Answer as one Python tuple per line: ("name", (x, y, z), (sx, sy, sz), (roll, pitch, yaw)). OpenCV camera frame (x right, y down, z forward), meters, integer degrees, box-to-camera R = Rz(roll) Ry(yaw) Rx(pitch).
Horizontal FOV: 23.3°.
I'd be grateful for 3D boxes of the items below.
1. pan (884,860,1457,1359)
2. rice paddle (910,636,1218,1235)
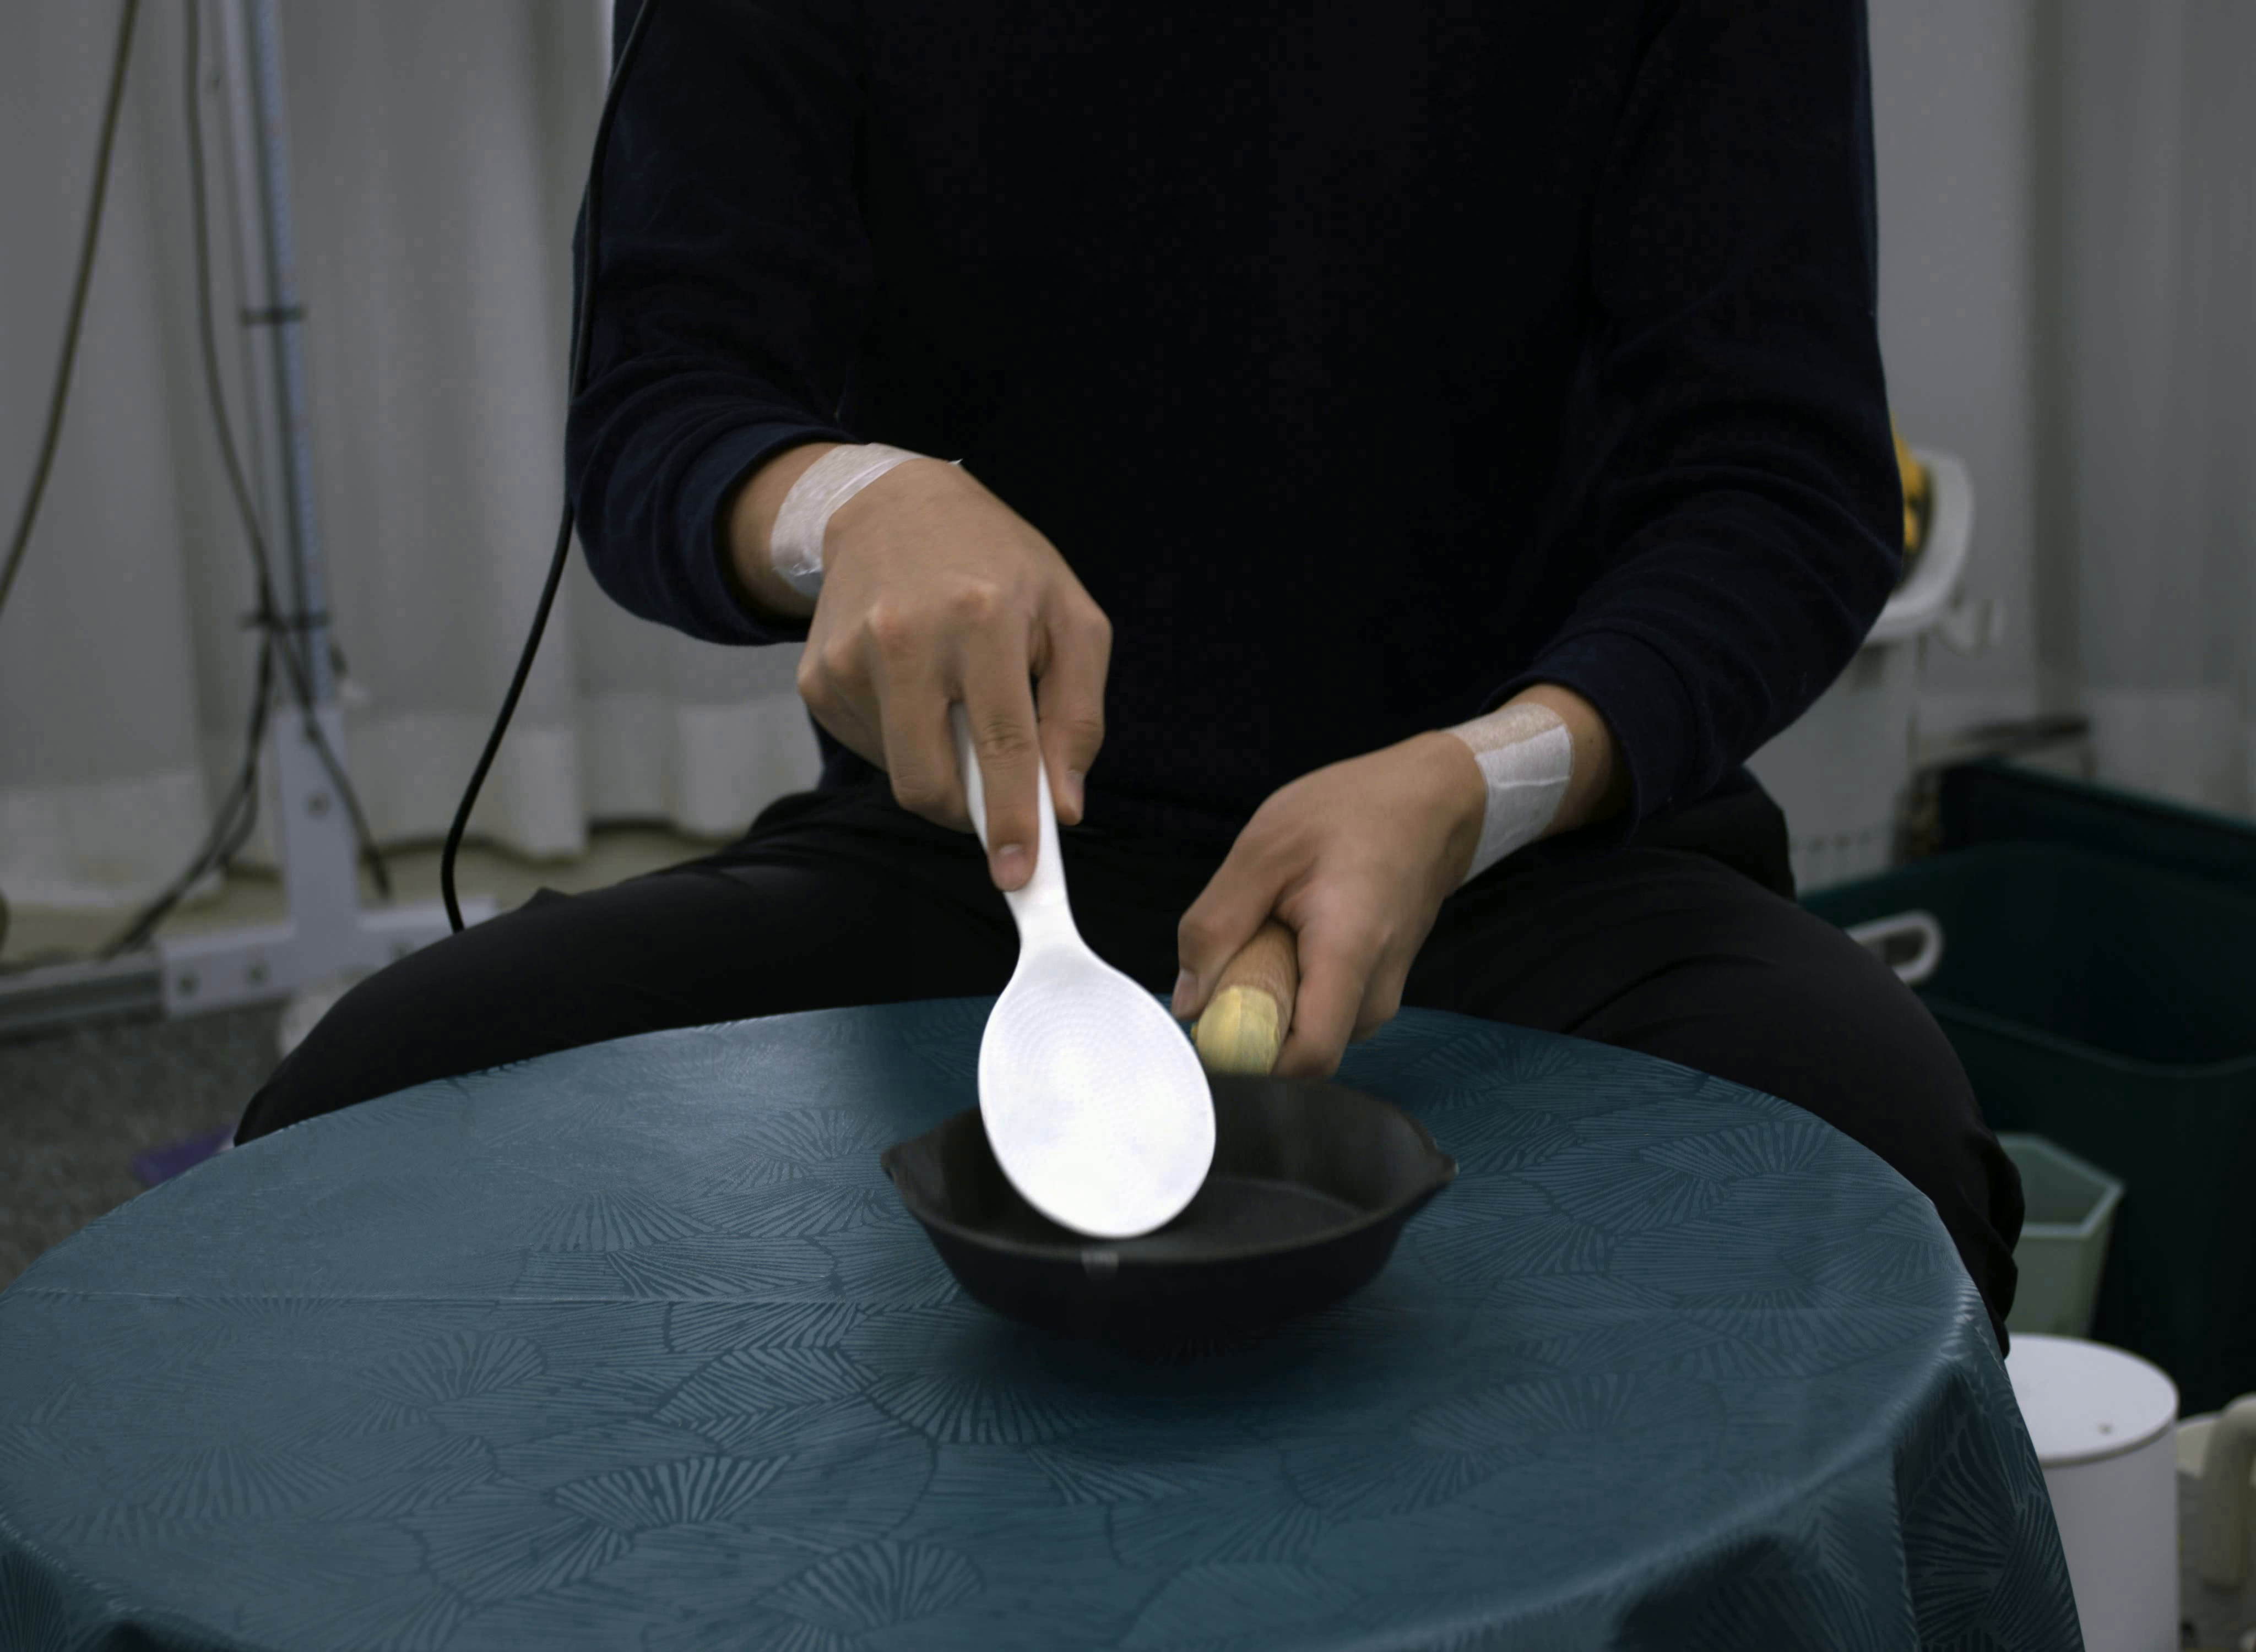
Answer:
("pan", (0.031, 0.082, 1.657), (0.169, 0.049, 0.326), (1, 19, 13))
("rice paddle", (-0.024, 0.033, 1.650), (0.068, 0.029, 0.208), (-11, 58, -11))
